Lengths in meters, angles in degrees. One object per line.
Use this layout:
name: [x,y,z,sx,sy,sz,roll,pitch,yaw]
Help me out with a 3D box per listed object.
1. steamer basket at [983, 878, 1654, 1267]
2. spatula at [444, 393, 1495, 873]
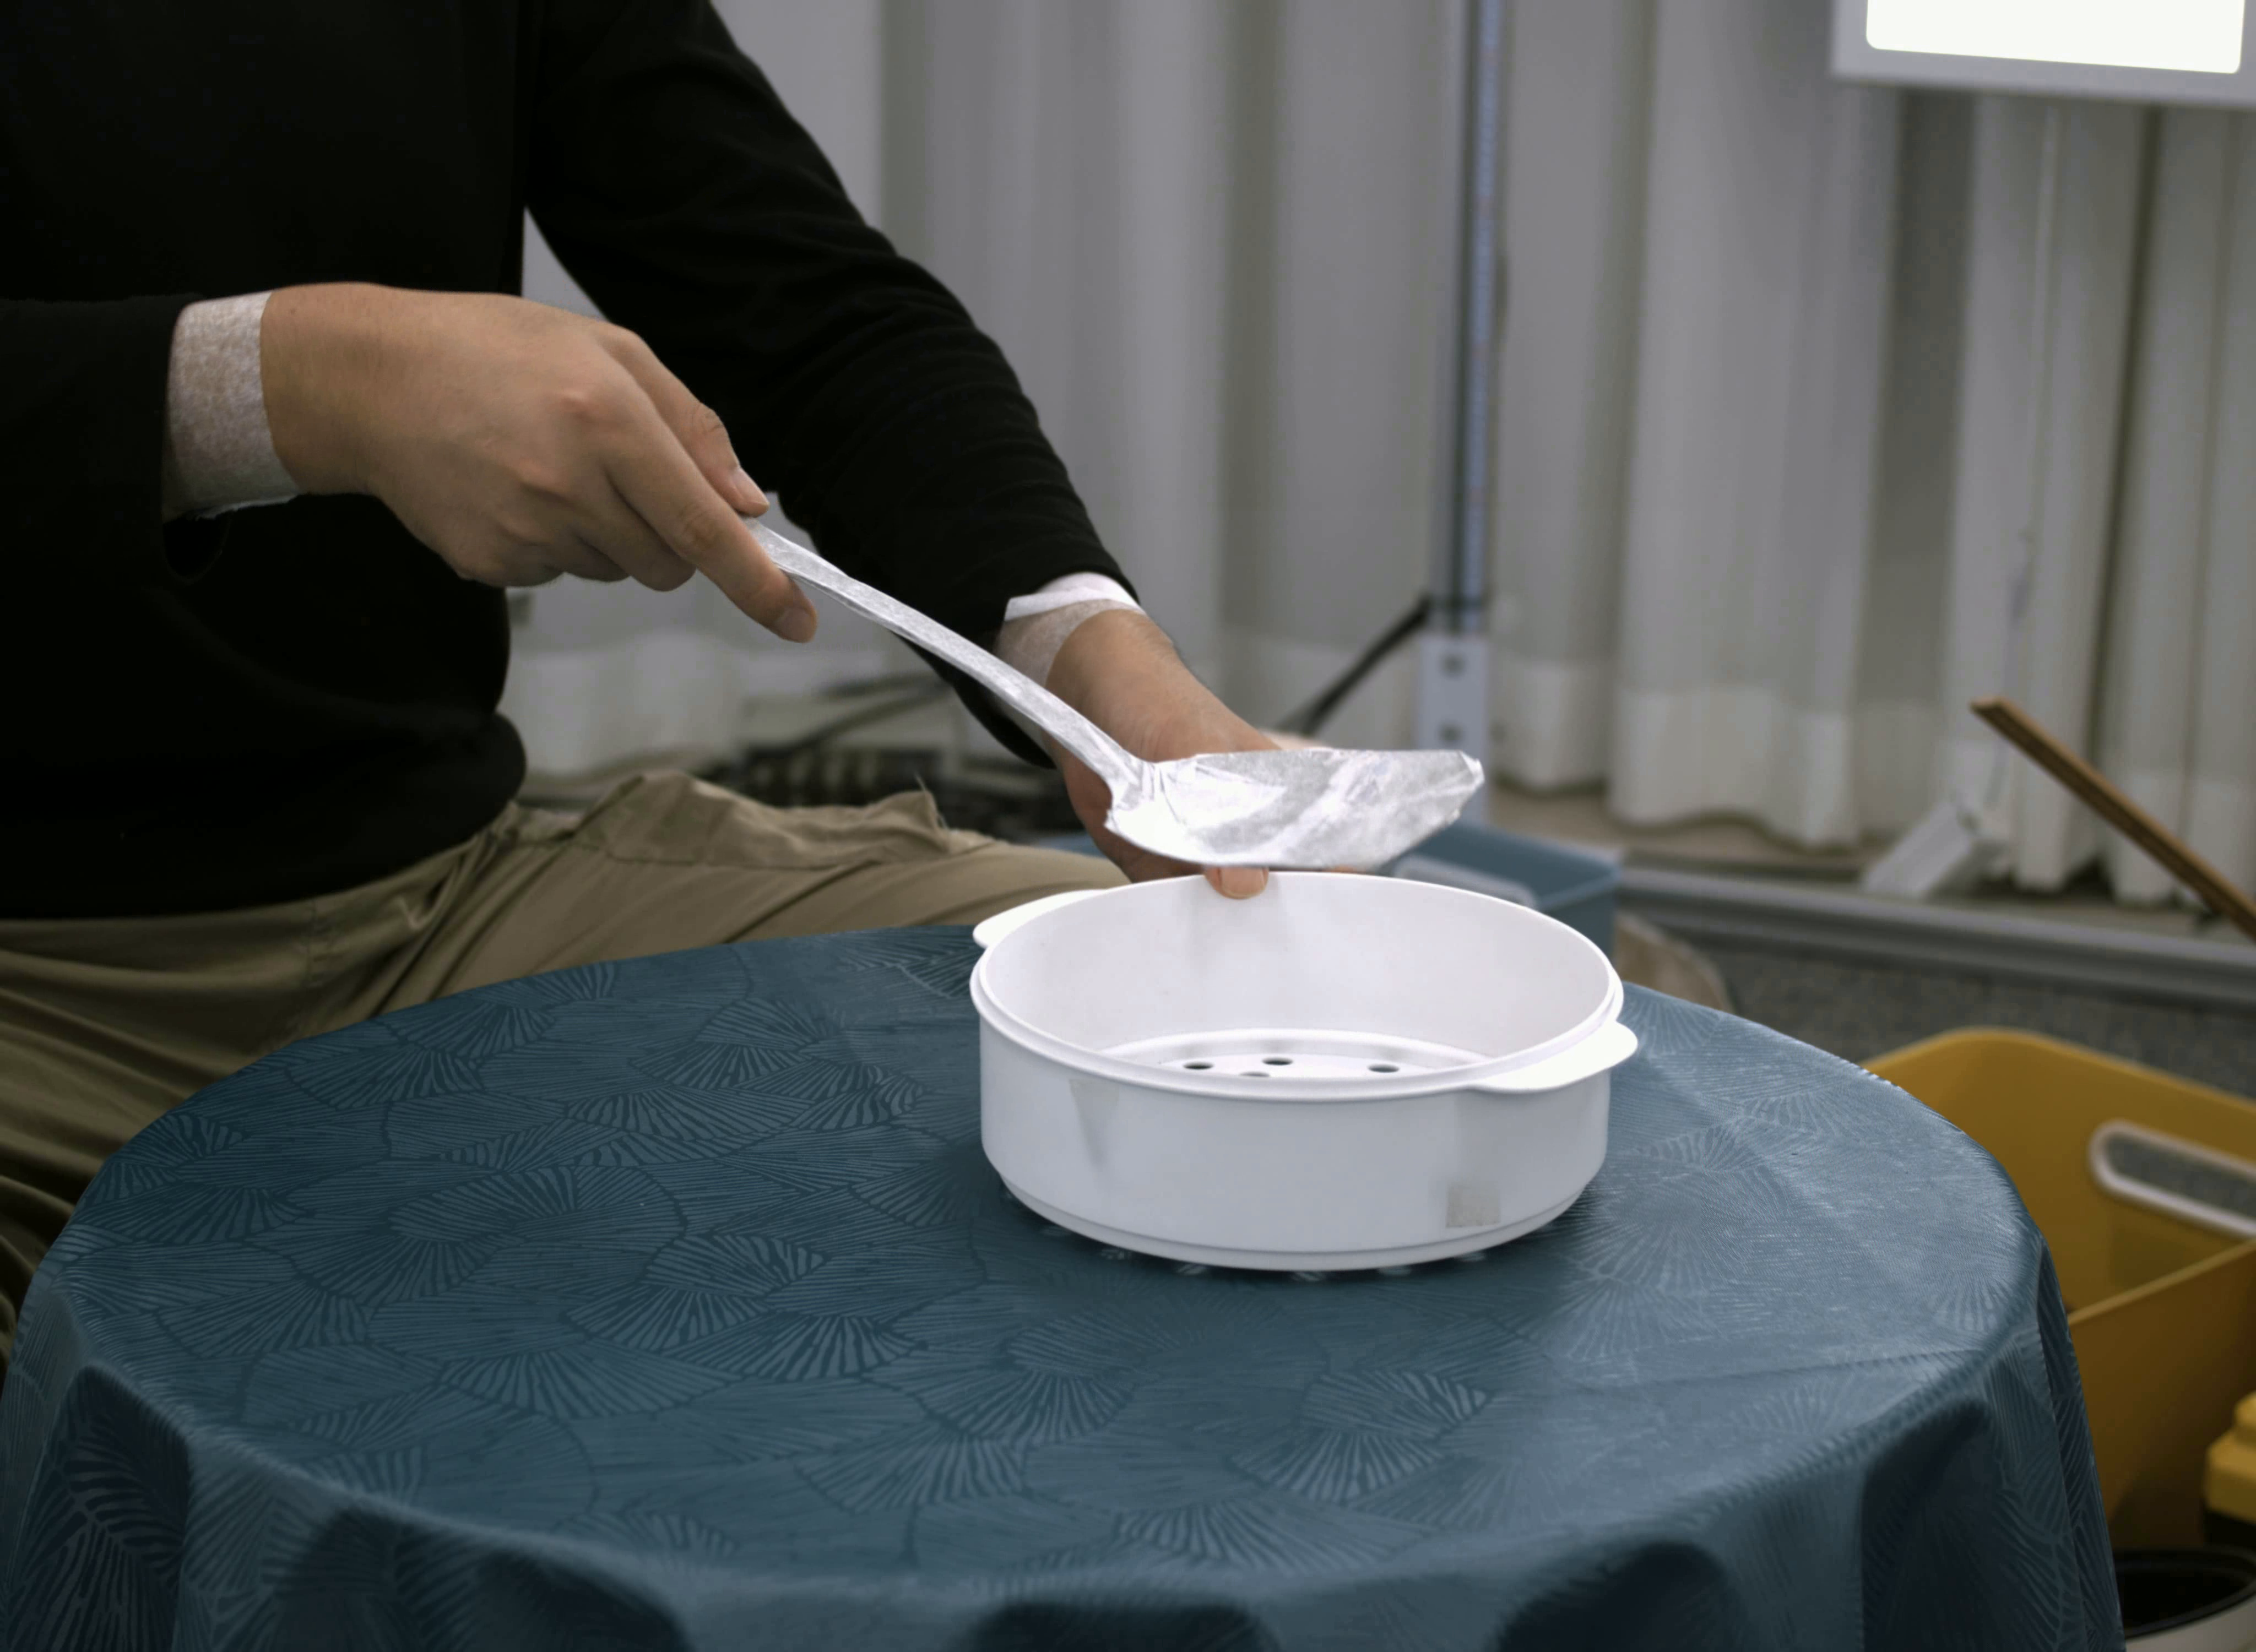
steamer basket: [0.055,0.075,1.617,0.227,0.070,0.203,14,21,38]
spatula: [-0.062,-0.065,1.562,0.361,0.045,0.099,29,34,18]
